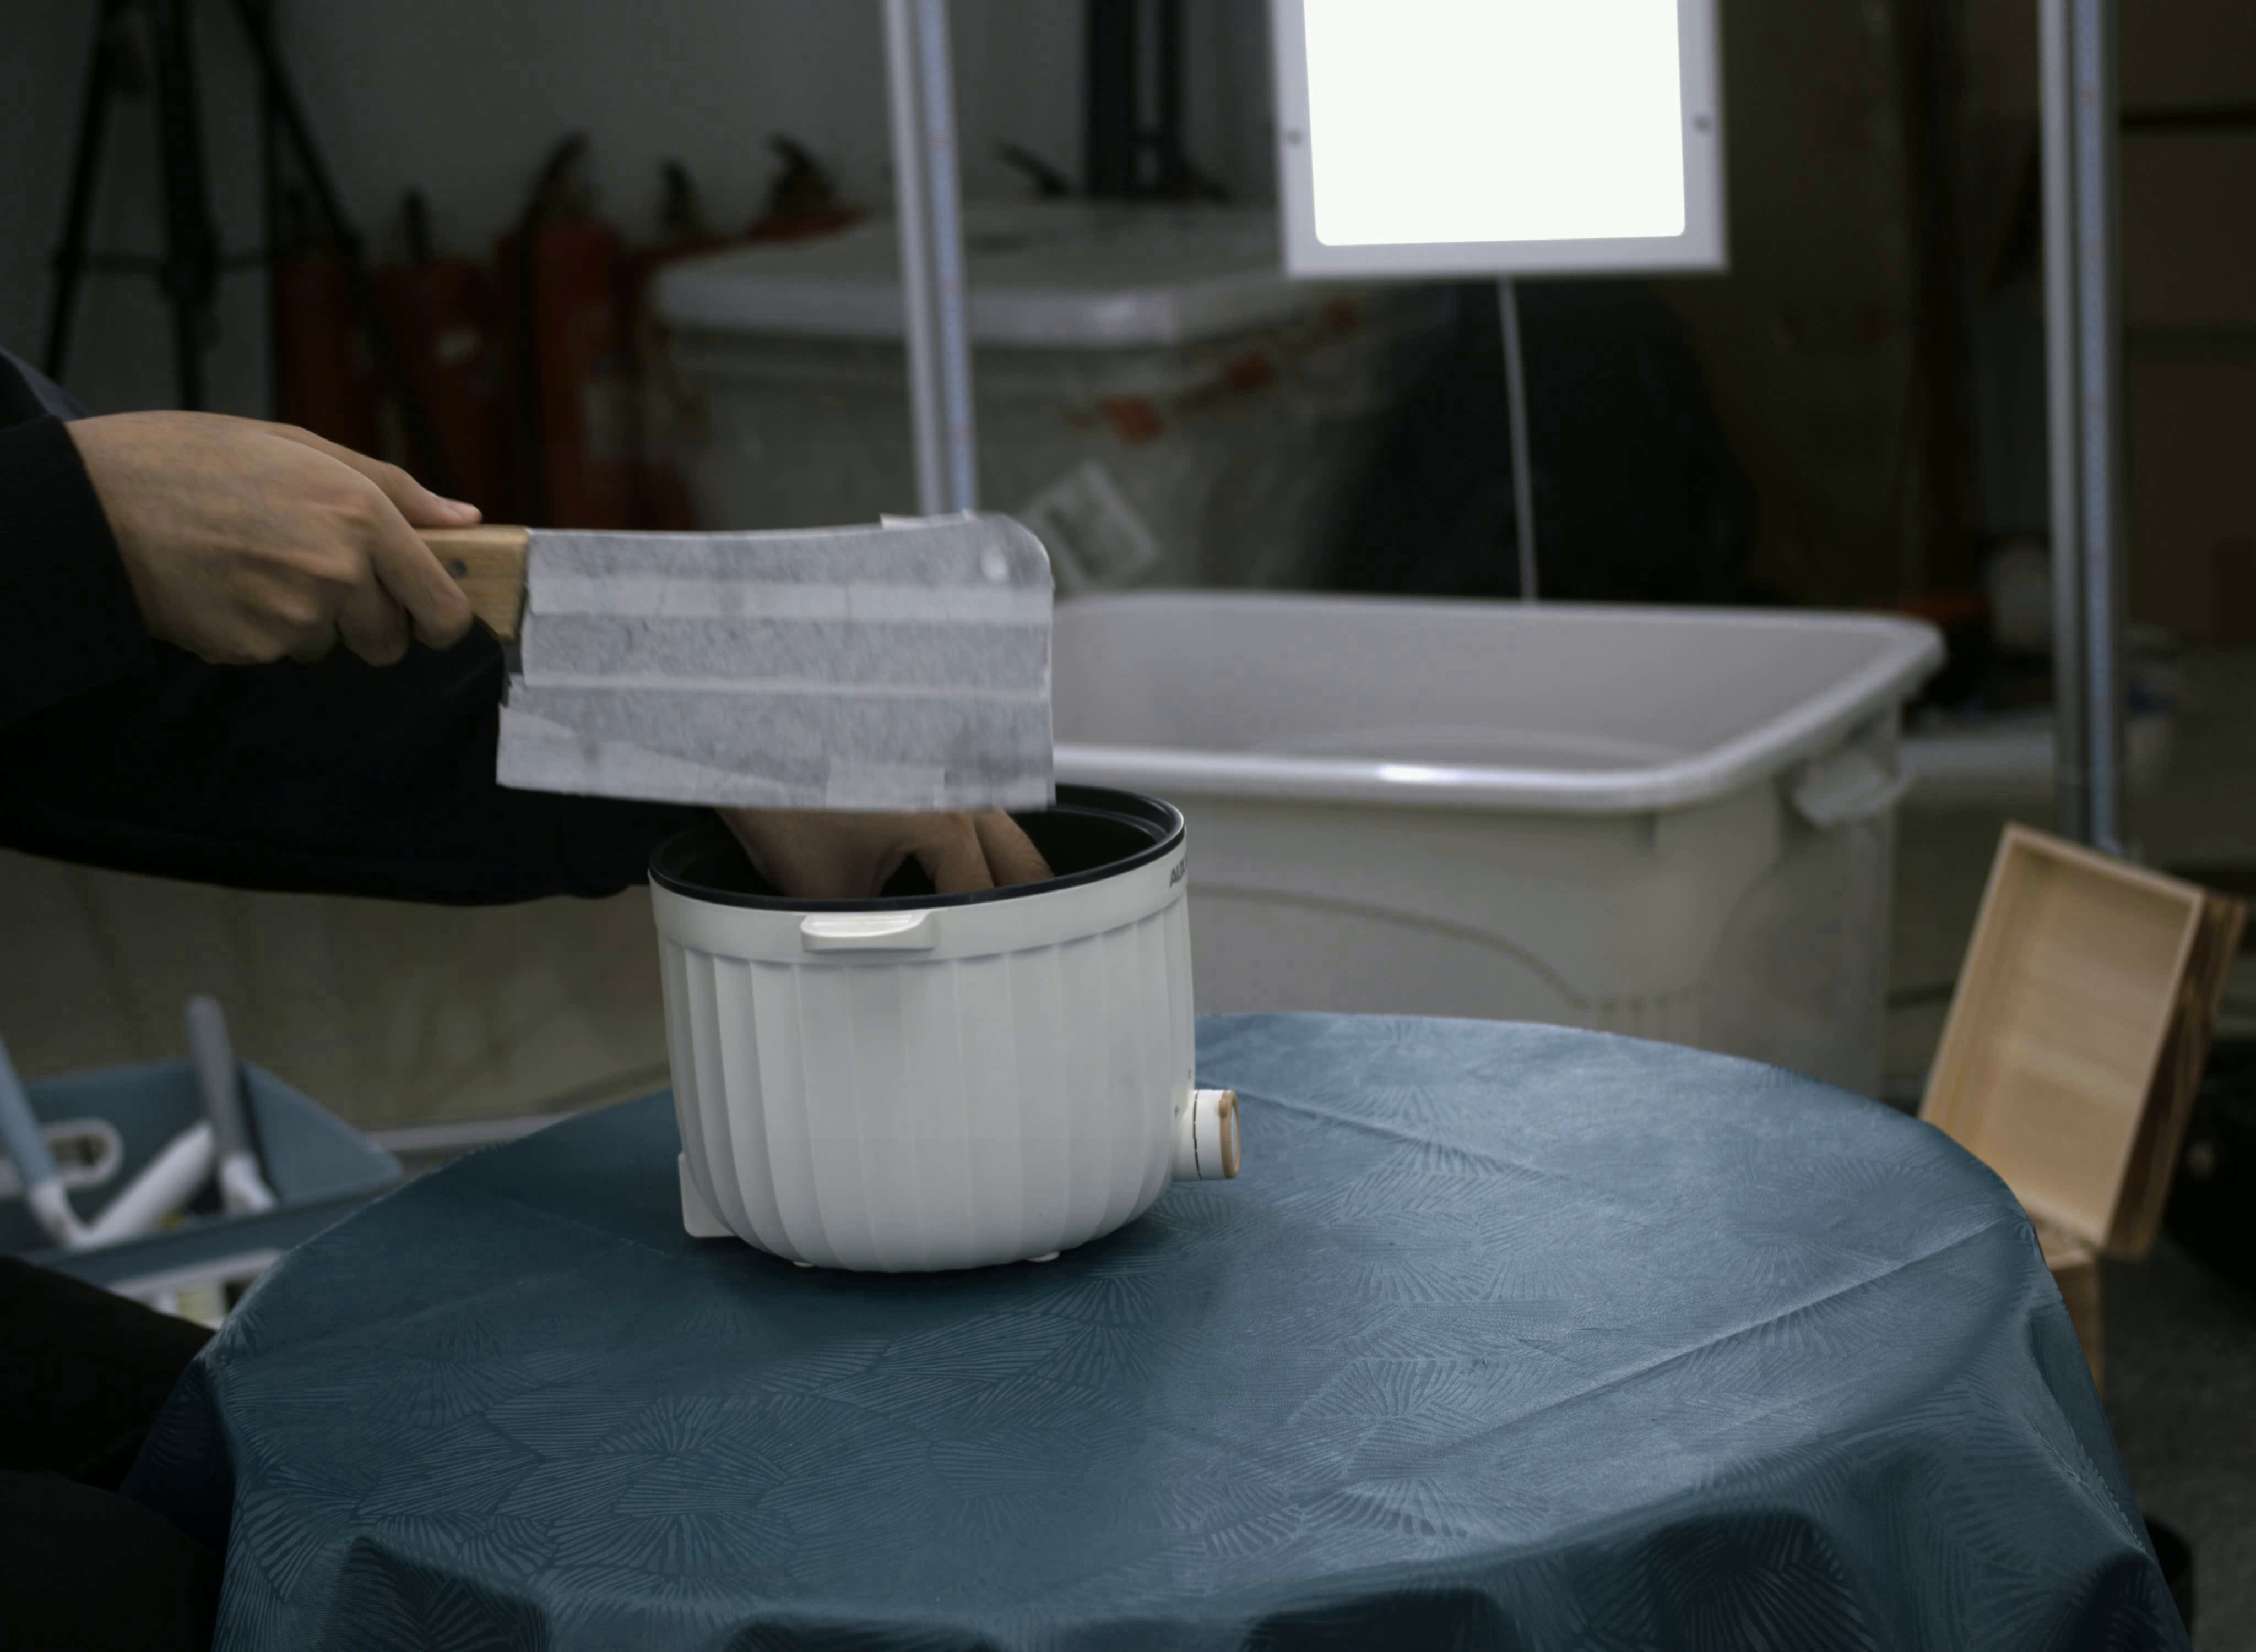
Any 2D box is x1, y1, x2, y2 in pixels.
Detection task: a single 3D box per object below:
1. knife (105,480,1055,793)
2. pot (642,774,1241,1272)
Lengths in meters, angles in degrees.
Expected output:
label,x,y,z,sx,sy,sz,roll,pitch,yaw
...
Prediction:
label,x,y,z,sx,sy,sz,roll,pitch,yaw
knife,-0.175,-0.066,1.799,0.312,0.114,0.022,4,11,-7
pot,-0.061,0.068,1.861,0.192,0.143,0.238,-6,13,10
